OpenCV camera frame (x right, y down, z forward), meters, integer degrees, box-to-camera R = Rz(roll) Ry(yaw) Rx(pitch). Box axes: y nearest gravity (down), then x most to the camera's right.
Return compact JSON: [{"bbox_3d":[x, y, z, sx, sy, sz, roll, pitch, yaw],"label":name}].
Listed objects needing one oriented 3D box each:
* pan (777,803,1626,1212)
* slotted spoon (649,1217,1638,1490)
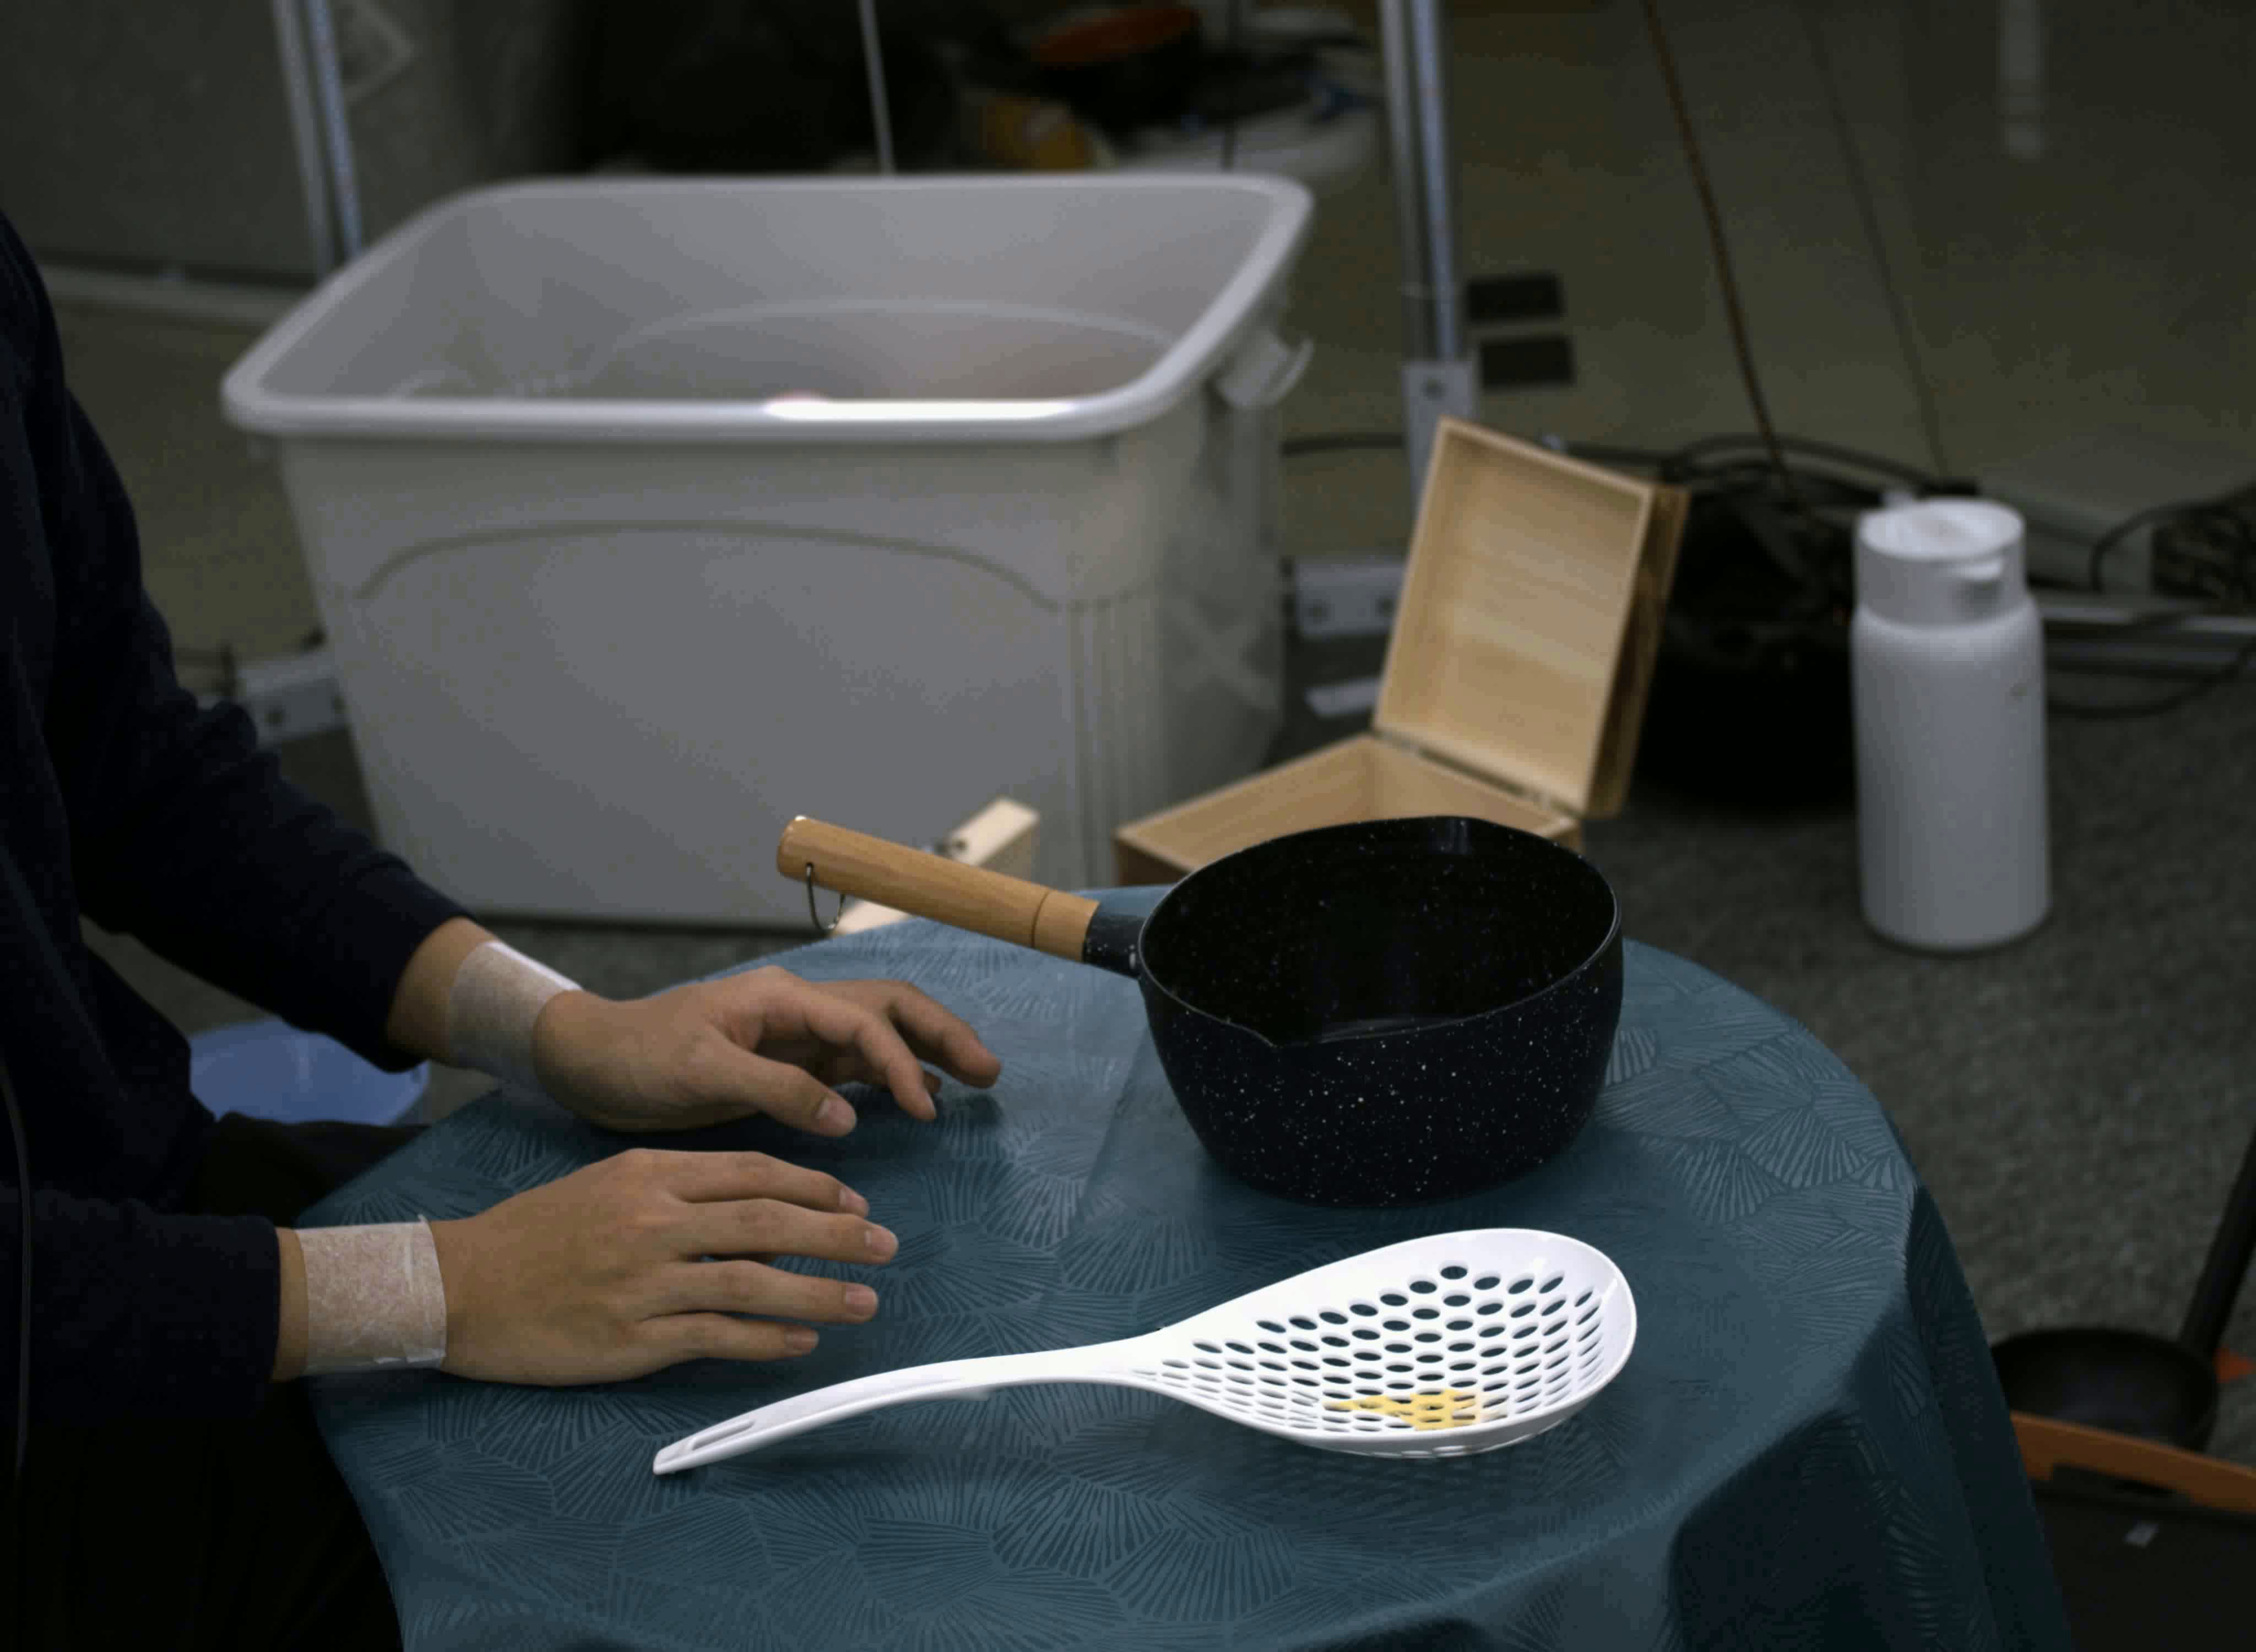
[{"bbox_3d":[0.024,0.059,2.184,0.342,0.110,0.204,5,29,20],"label":"pan"},{"bbox_3d":[0.004,0.196,1.973,0.347,0.051,0.135,-3,27,4],"label":"slotted spoon"}]
